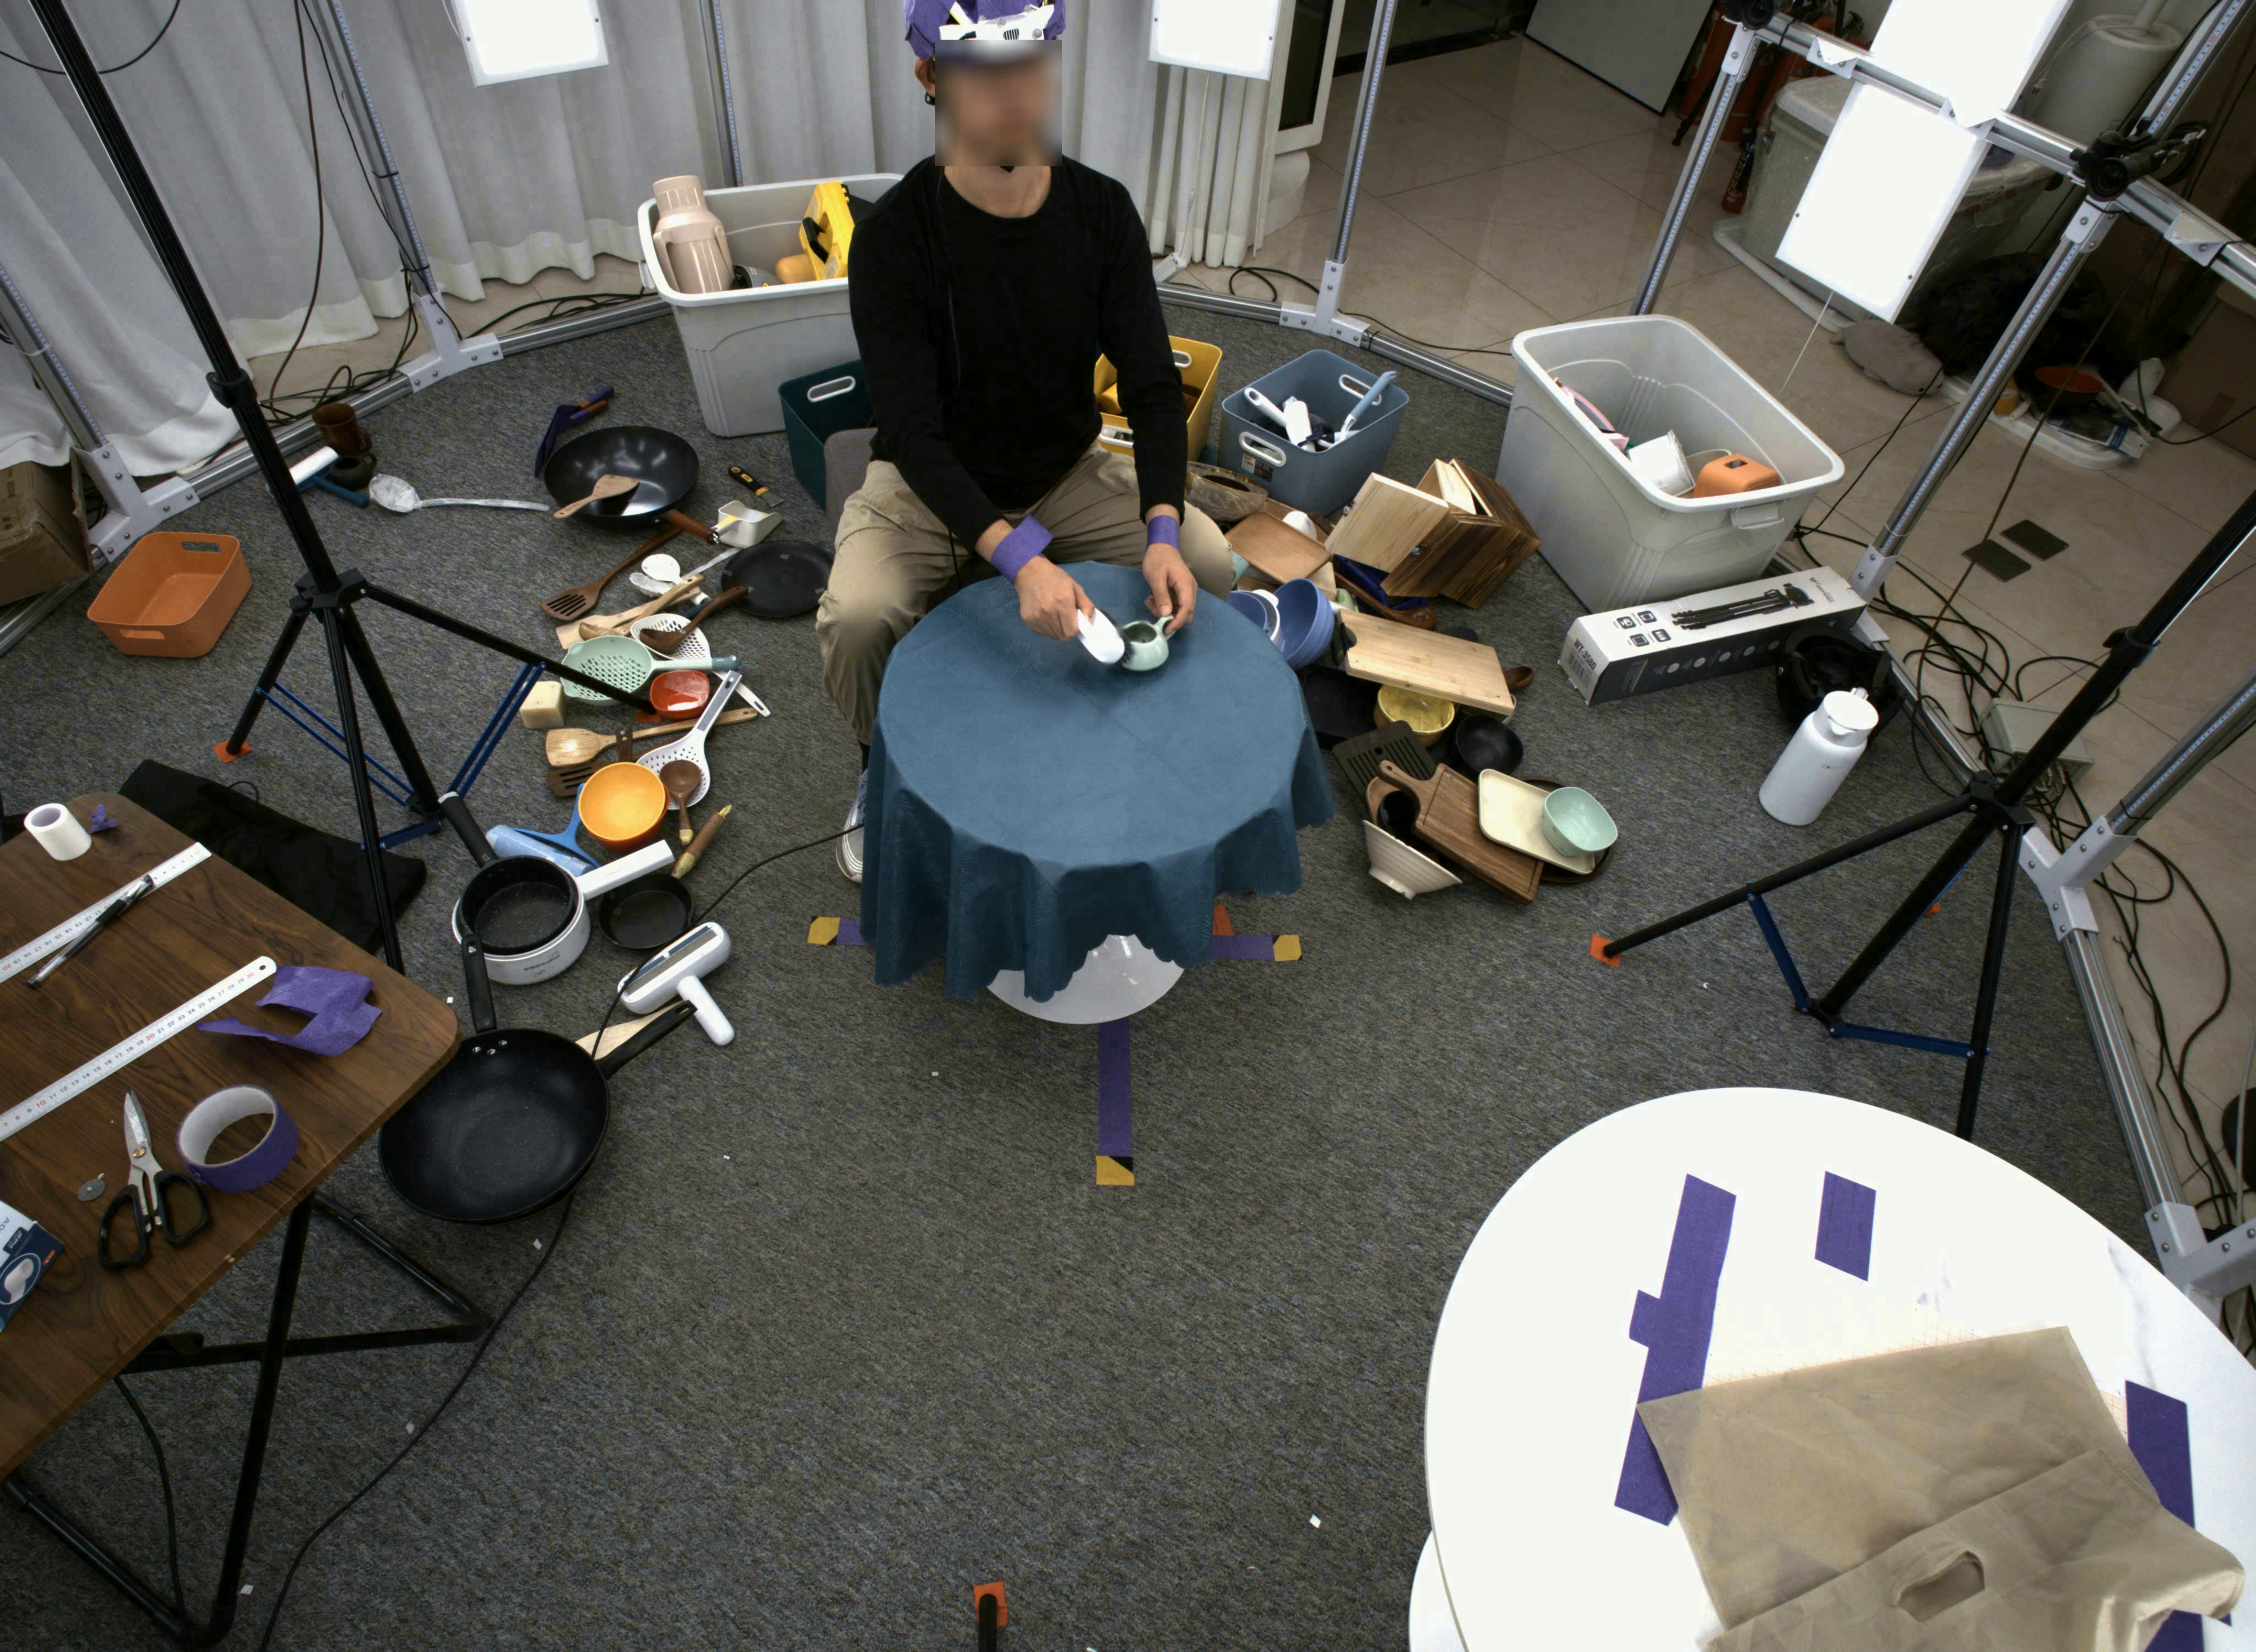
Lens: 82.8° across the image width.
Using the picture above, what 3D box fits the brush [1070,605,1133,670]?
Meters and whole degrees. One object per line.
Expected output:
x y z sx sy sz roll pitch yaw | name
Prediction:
-0.044 -0.269 1.804 0.050 0.072 0.100 -41 70 16 | brush

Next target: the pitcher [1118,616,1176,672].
0.025 -0.268 1.866 0.108 0.059 0.087 -27 57 -30 | pitcher
